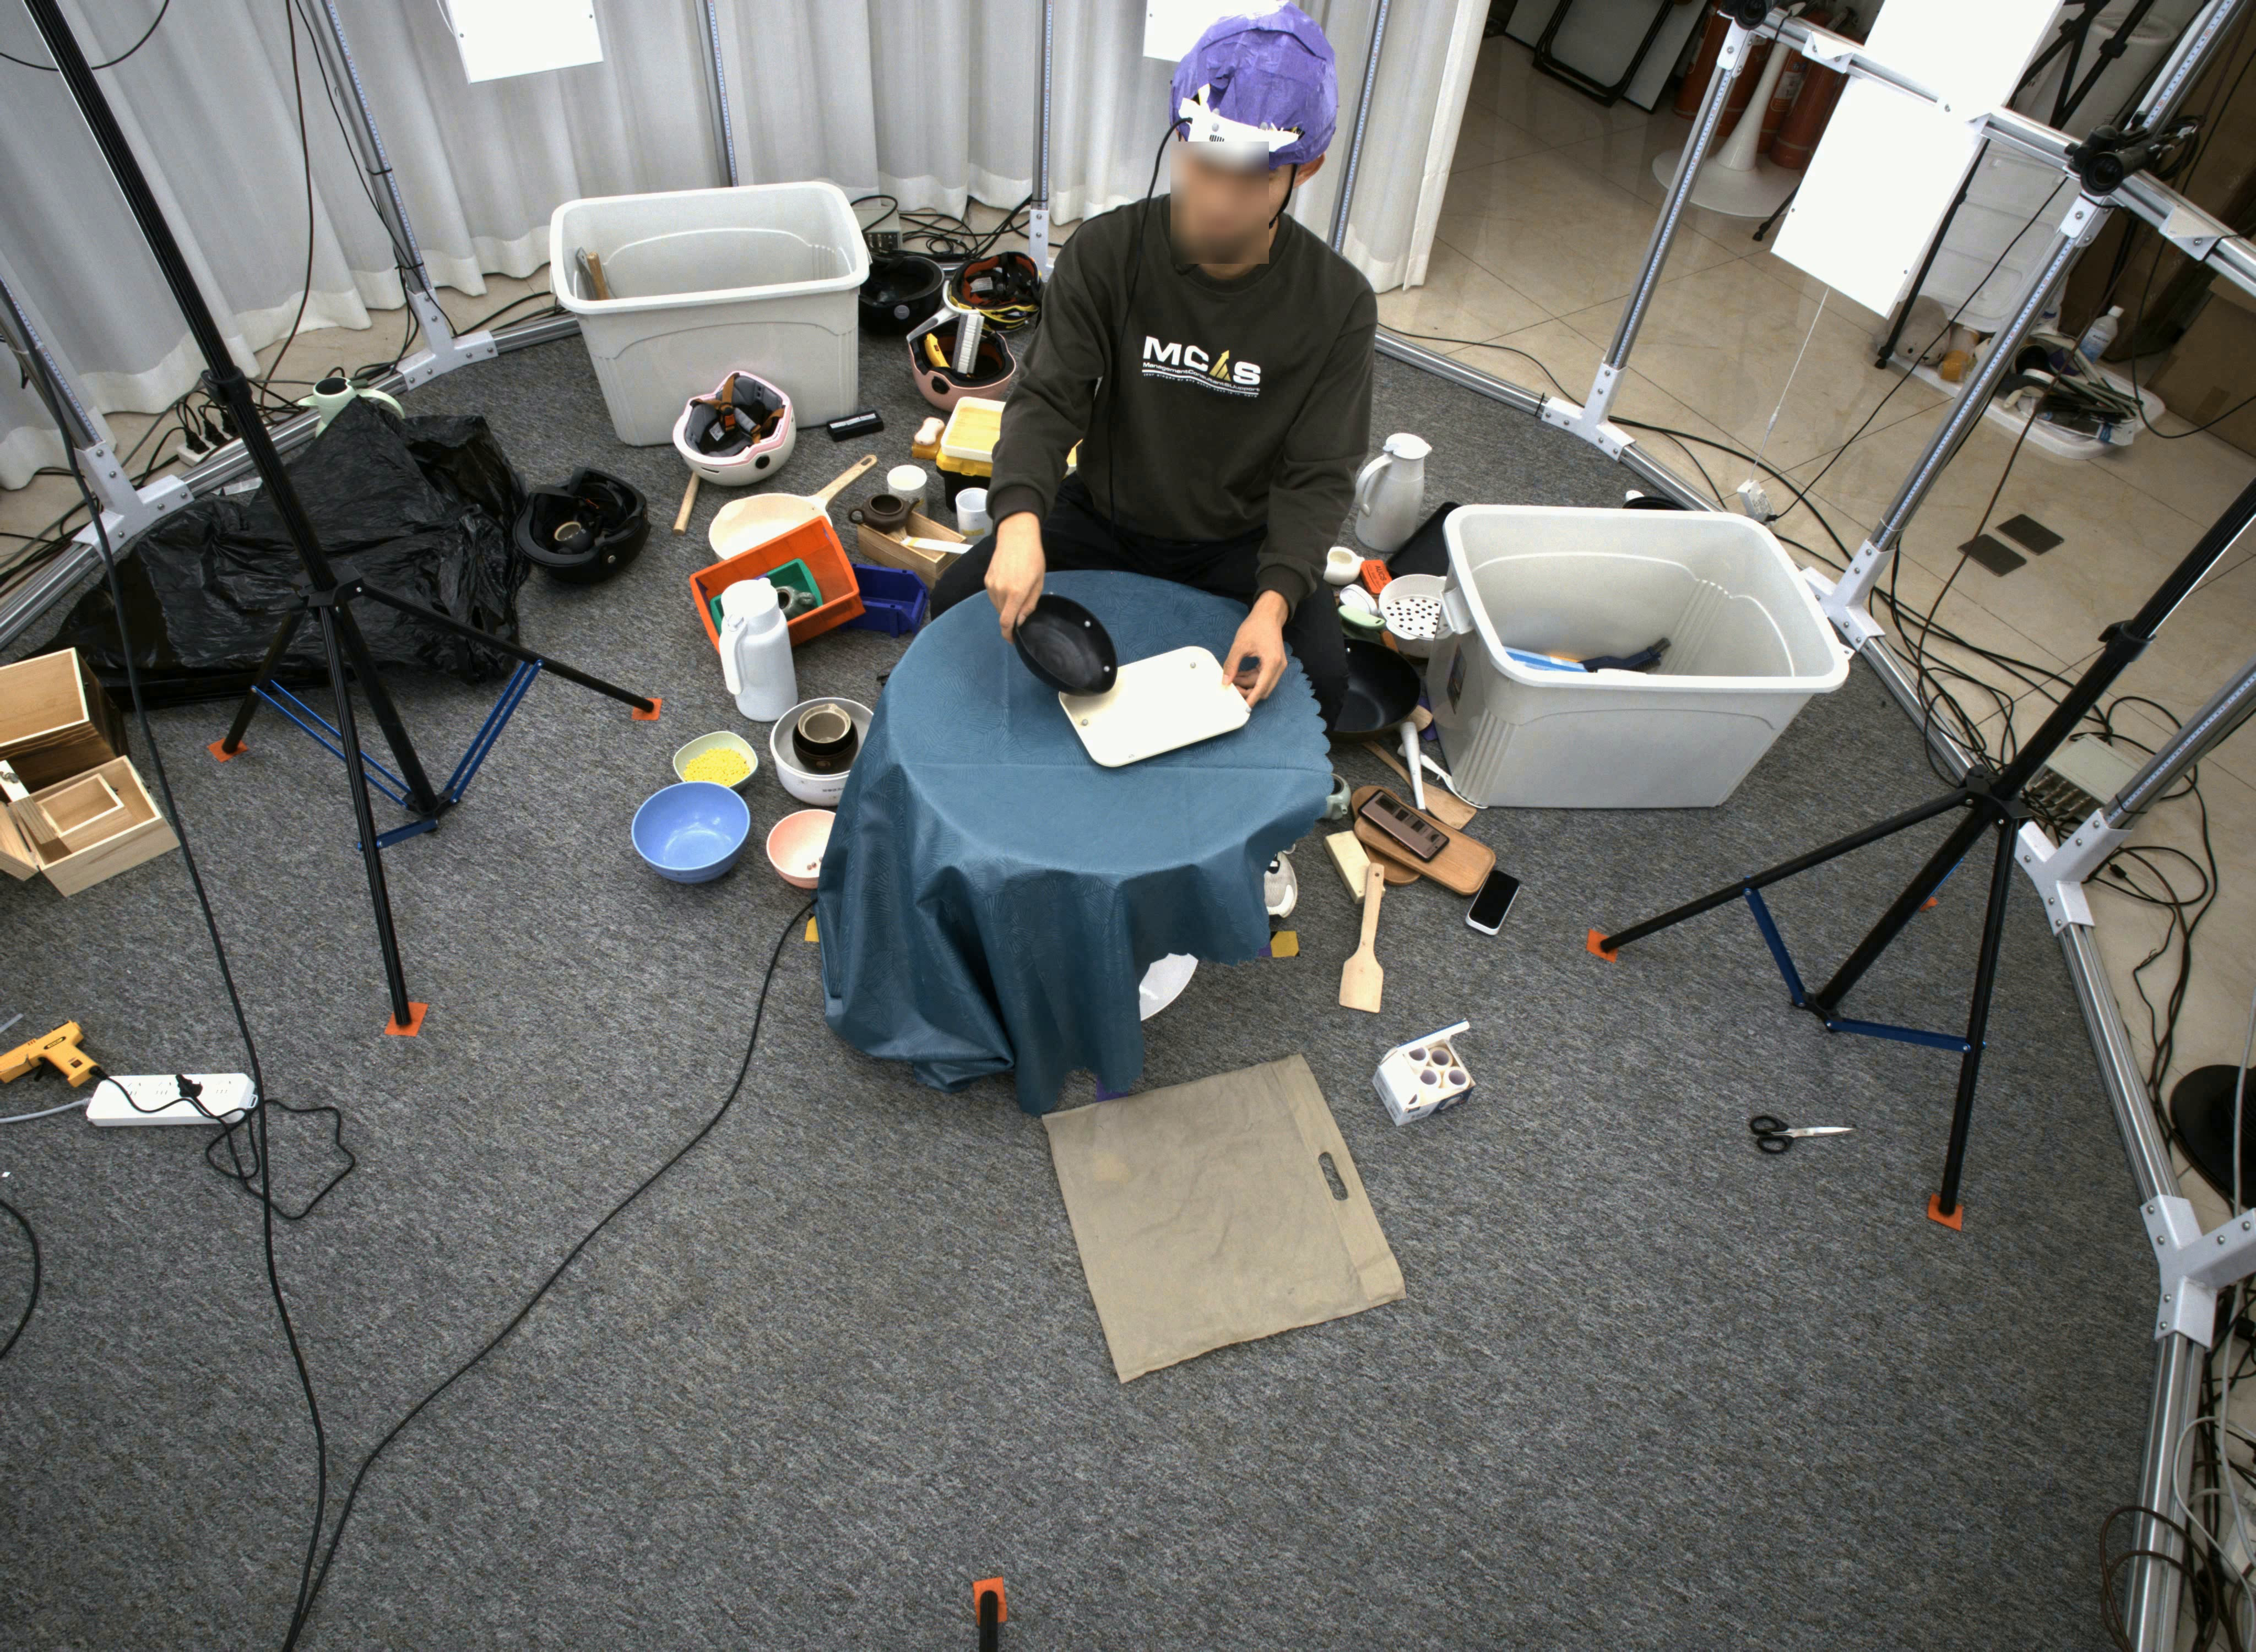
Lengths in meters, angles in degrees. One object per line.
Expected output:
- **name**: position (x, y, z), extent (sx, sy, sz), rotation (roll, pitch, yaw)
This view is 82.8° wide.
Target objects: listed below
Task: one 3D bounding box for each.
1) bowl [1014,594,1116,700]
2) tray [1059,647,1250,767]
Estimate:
- **bowl**: position (-0.094, -0.241, 1.788), extent (0.169, 0.066, 0.140), rotation (39, 52, -14)
- **tray**: position (0.037, -0.168, 1.796), extent (0.240, 0.017, 0.175), rotation (-18, 51, -16)
